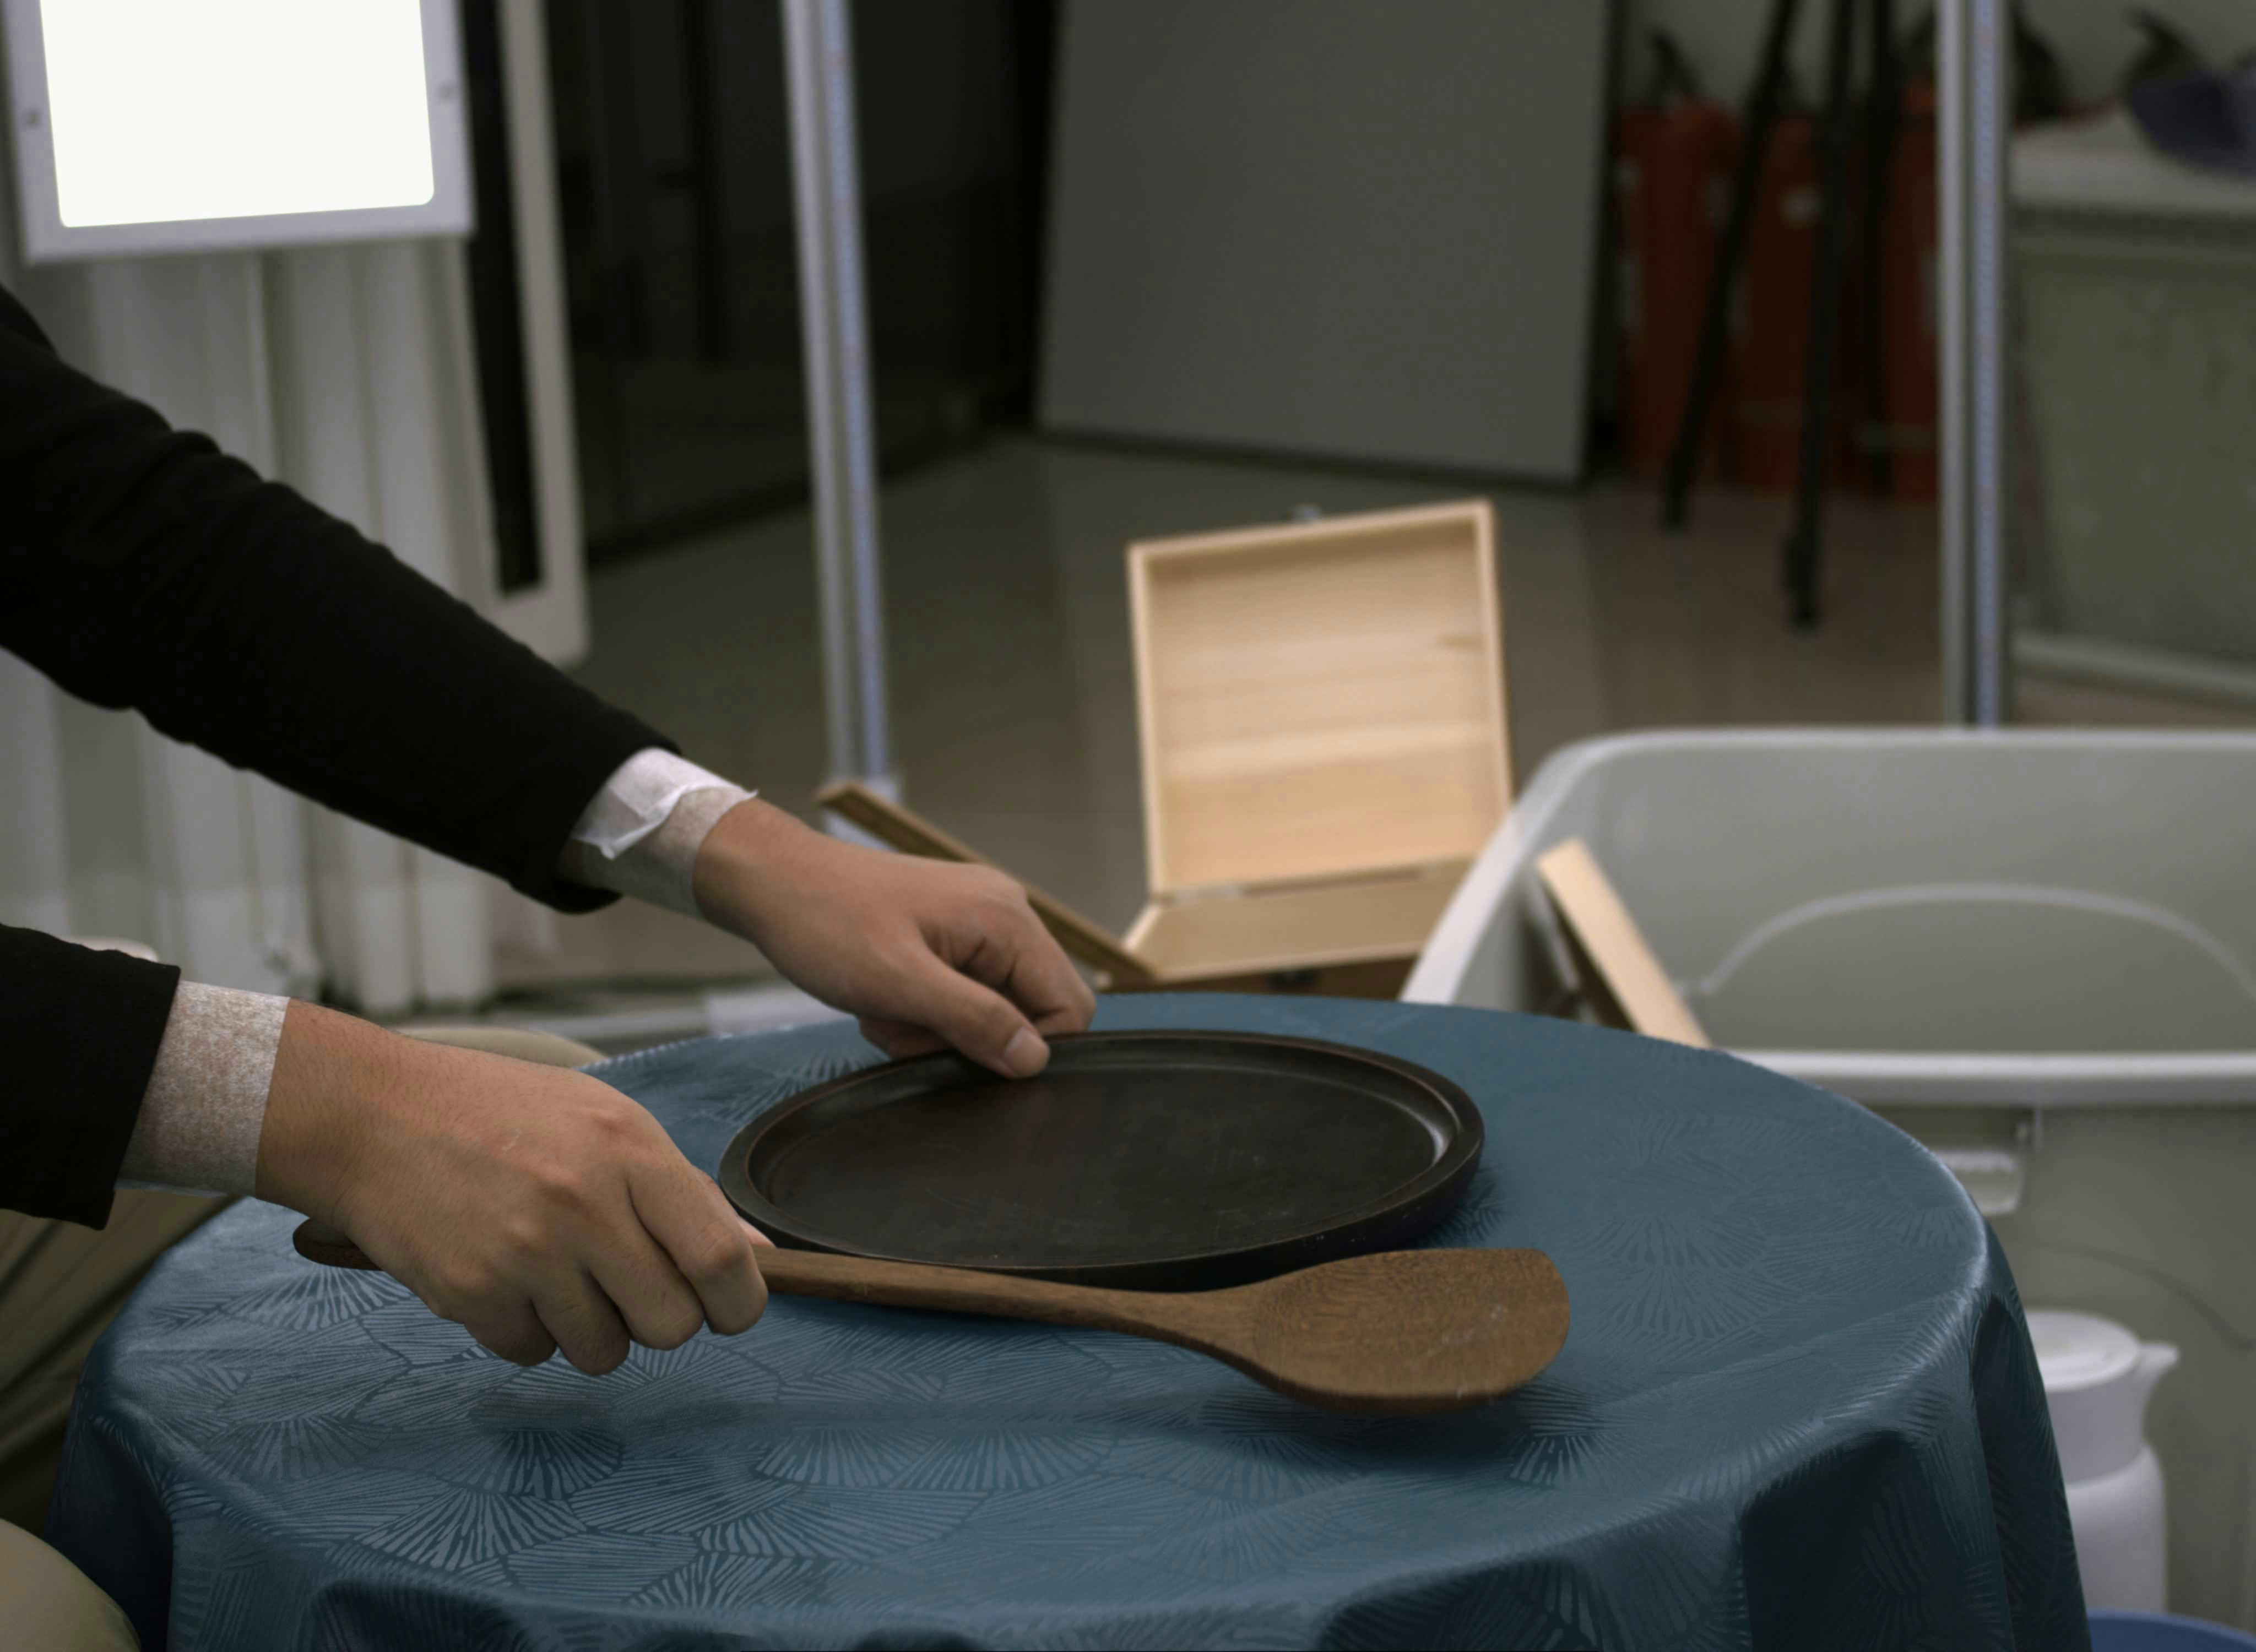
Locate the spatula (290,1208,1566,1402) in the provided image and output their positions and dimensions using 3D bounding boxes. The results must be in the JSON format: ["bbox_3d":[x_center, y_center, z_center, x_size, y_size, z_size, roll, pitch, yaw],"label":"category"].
[{"bbox_3d":[-0.062,0.134,1.577,0.383,0.016,0.096,4,22,11],"label":"spatula"}]

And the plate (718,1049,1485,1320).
[{"bbox_3d":[-0.008,0.114,1.757,0.251,0.029,0.255,-3,14,0],"label":"plate"}]
